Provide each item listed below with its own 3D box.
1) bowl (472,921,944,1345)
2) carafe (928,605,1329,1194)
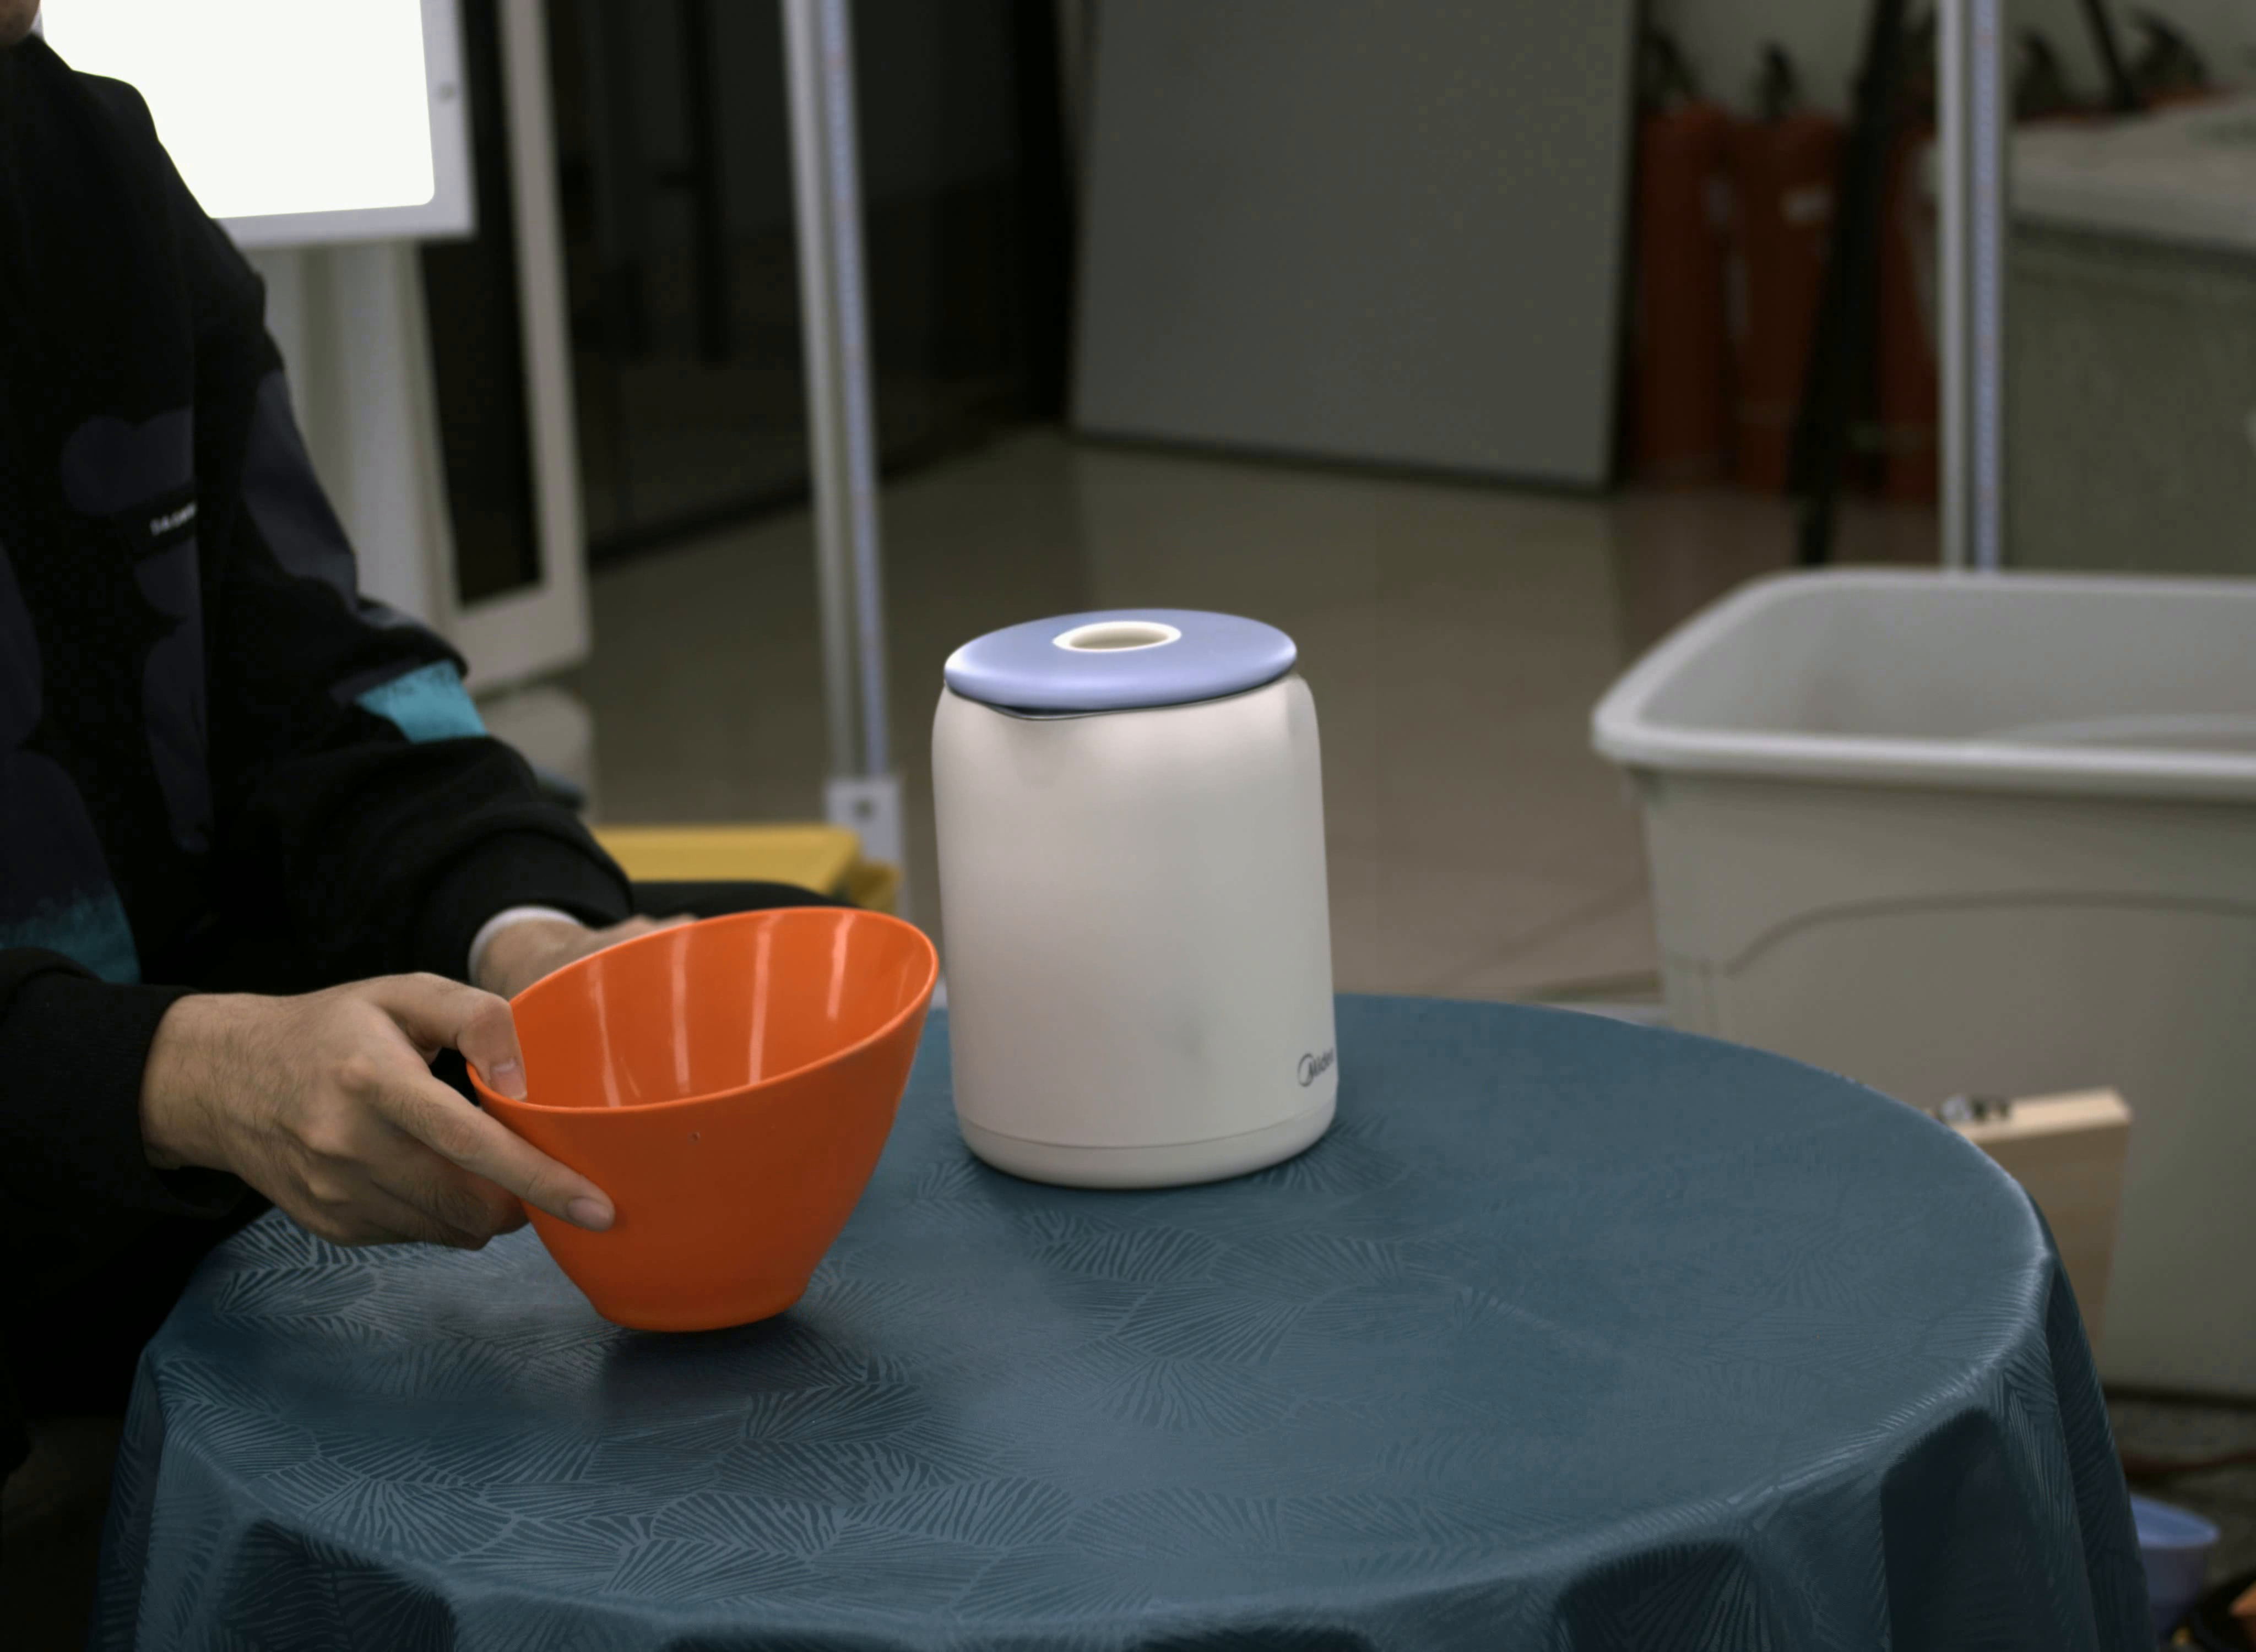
[{"bbox_3d":[-0.125,0.097,1.661,0.146,0.106,0.148,-4,13,0],"label":"bowl"},{"bbox_3d":[0.010,0.018,1.828,0.132,0.184,0.188,4,13,24],"label":"carafe"}]
